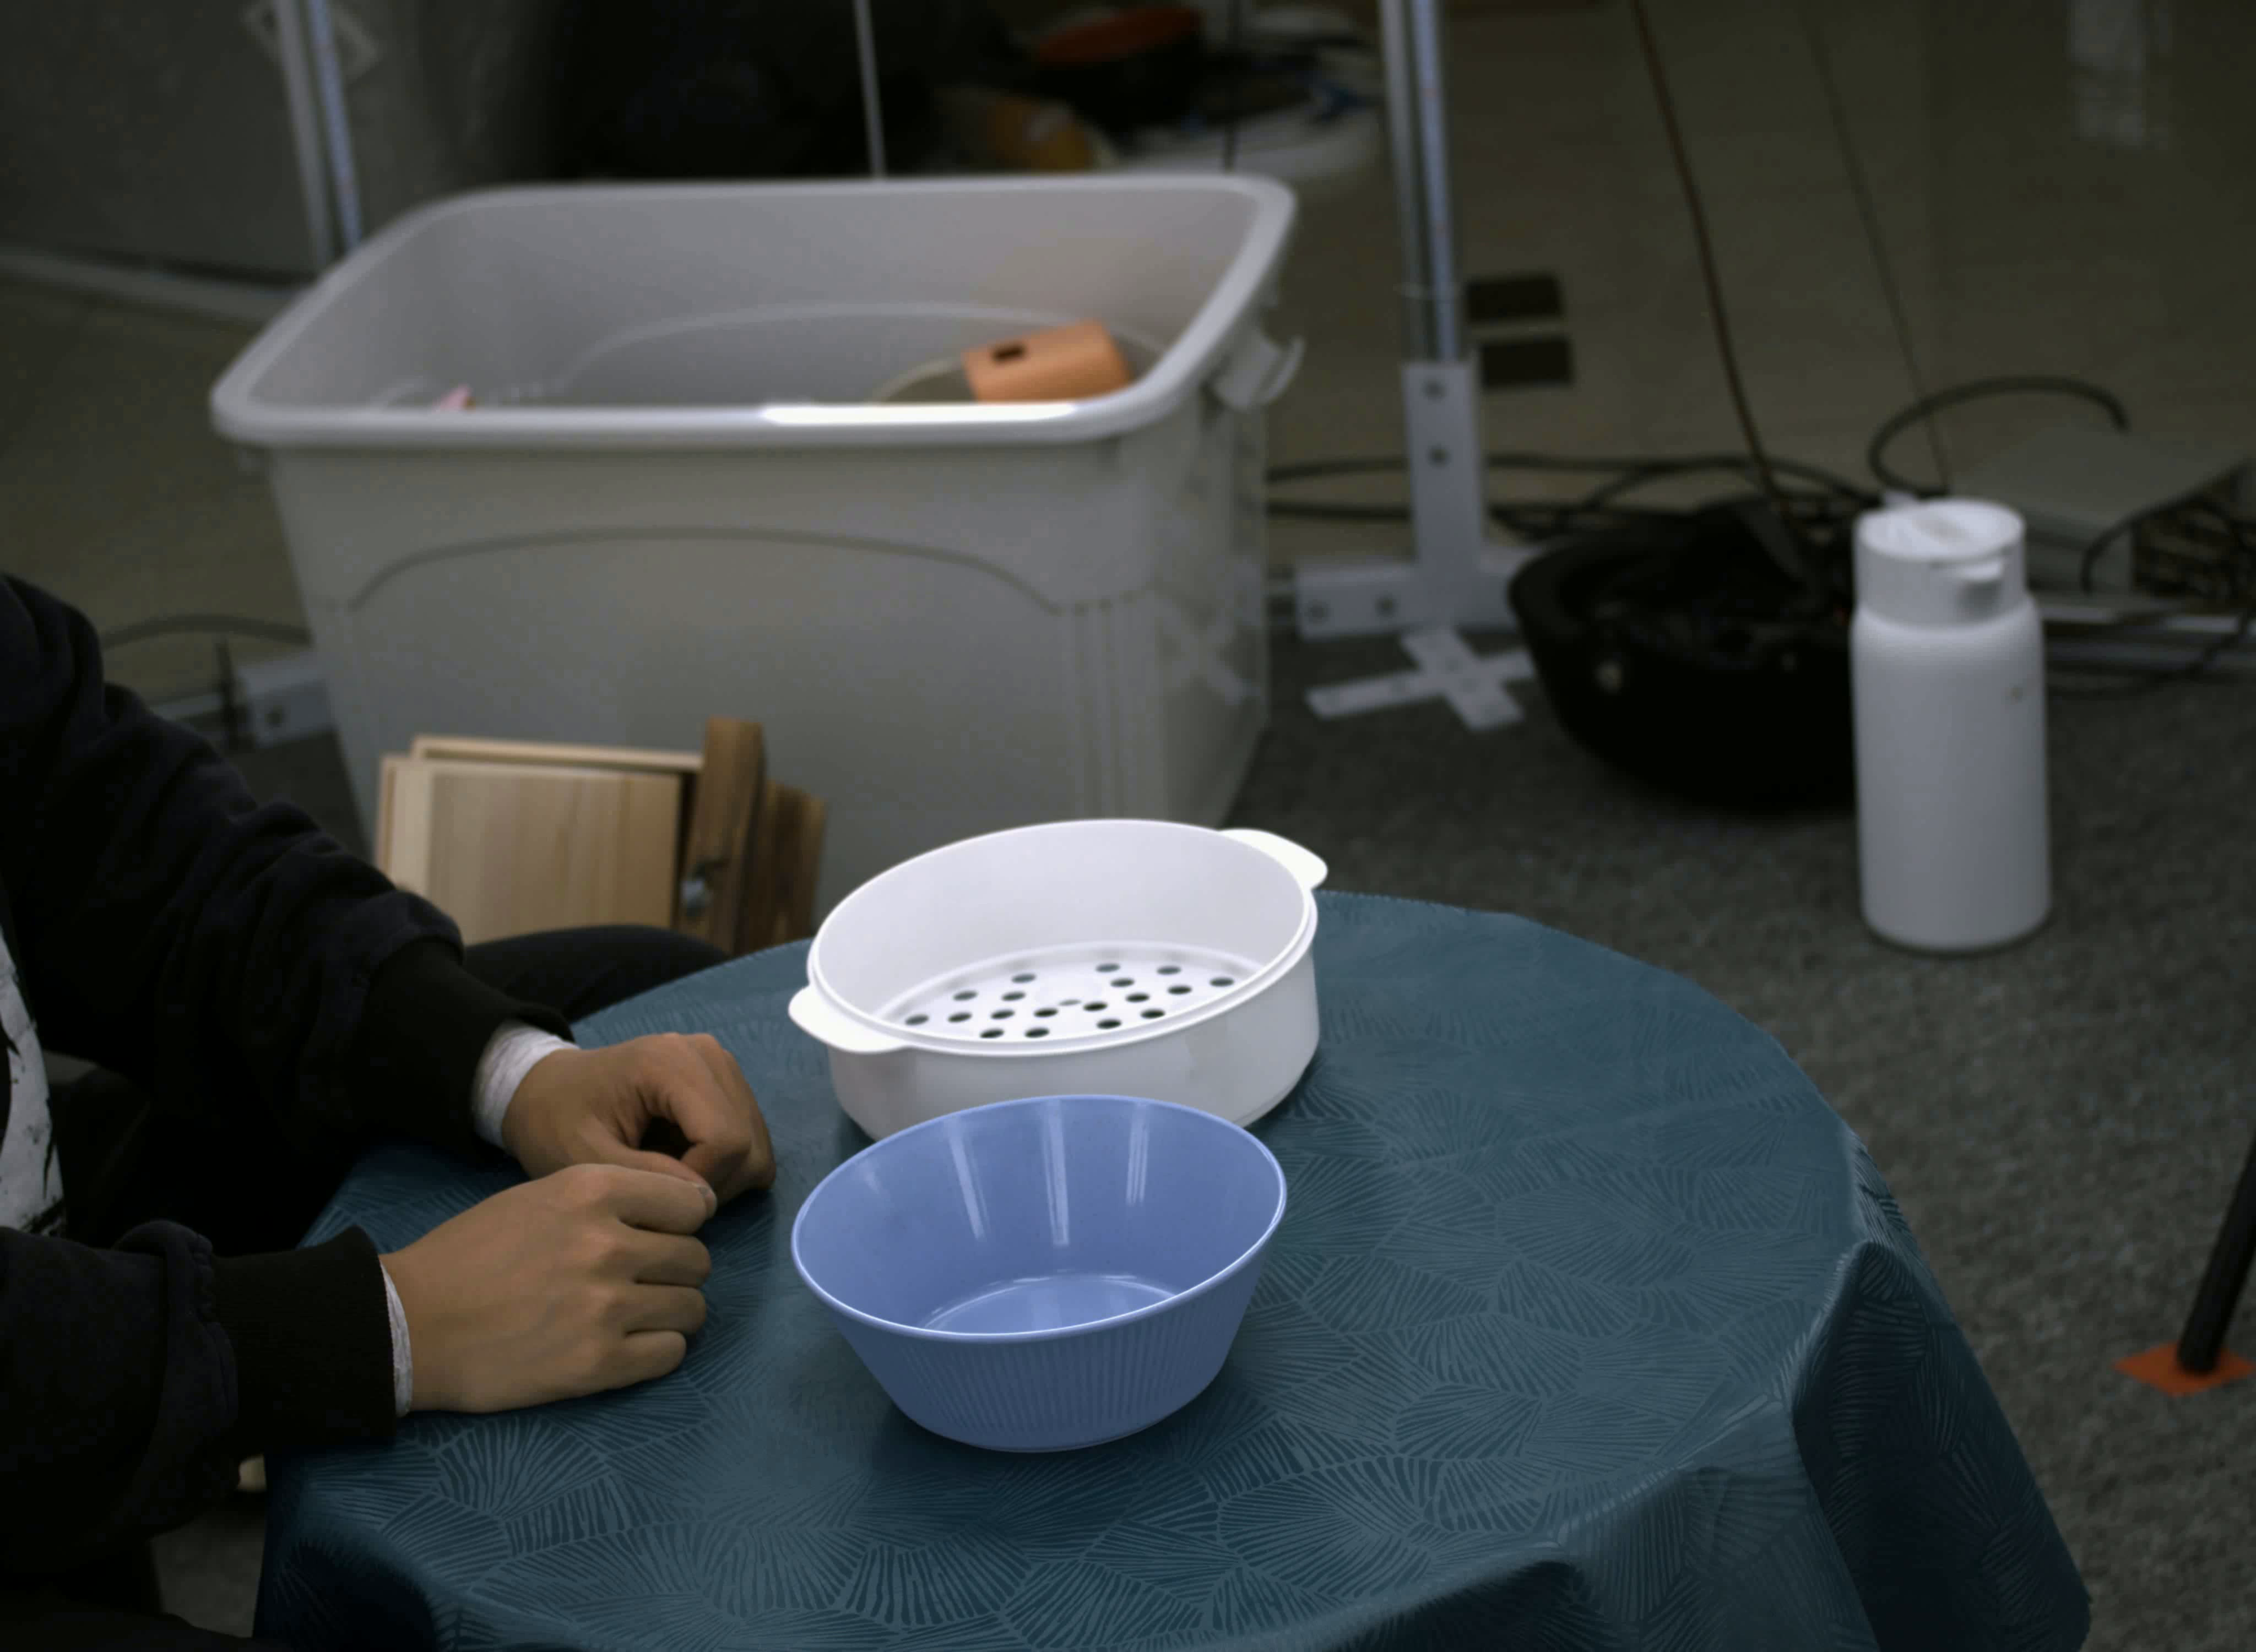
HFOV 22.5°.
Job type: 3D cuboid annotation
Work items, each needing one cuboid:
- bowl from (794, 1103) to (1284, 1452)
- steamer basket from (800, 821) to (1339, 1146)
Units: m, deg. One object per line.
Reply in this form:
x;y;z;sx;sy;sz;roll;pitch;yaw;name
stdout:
-0.028;0.166;2.017;0.176;0.071;0.173;-5;24;3;bowl
-0.019;0.067;2.229;0.229;0.070;0.200;-19;28;-29;steamer basket
